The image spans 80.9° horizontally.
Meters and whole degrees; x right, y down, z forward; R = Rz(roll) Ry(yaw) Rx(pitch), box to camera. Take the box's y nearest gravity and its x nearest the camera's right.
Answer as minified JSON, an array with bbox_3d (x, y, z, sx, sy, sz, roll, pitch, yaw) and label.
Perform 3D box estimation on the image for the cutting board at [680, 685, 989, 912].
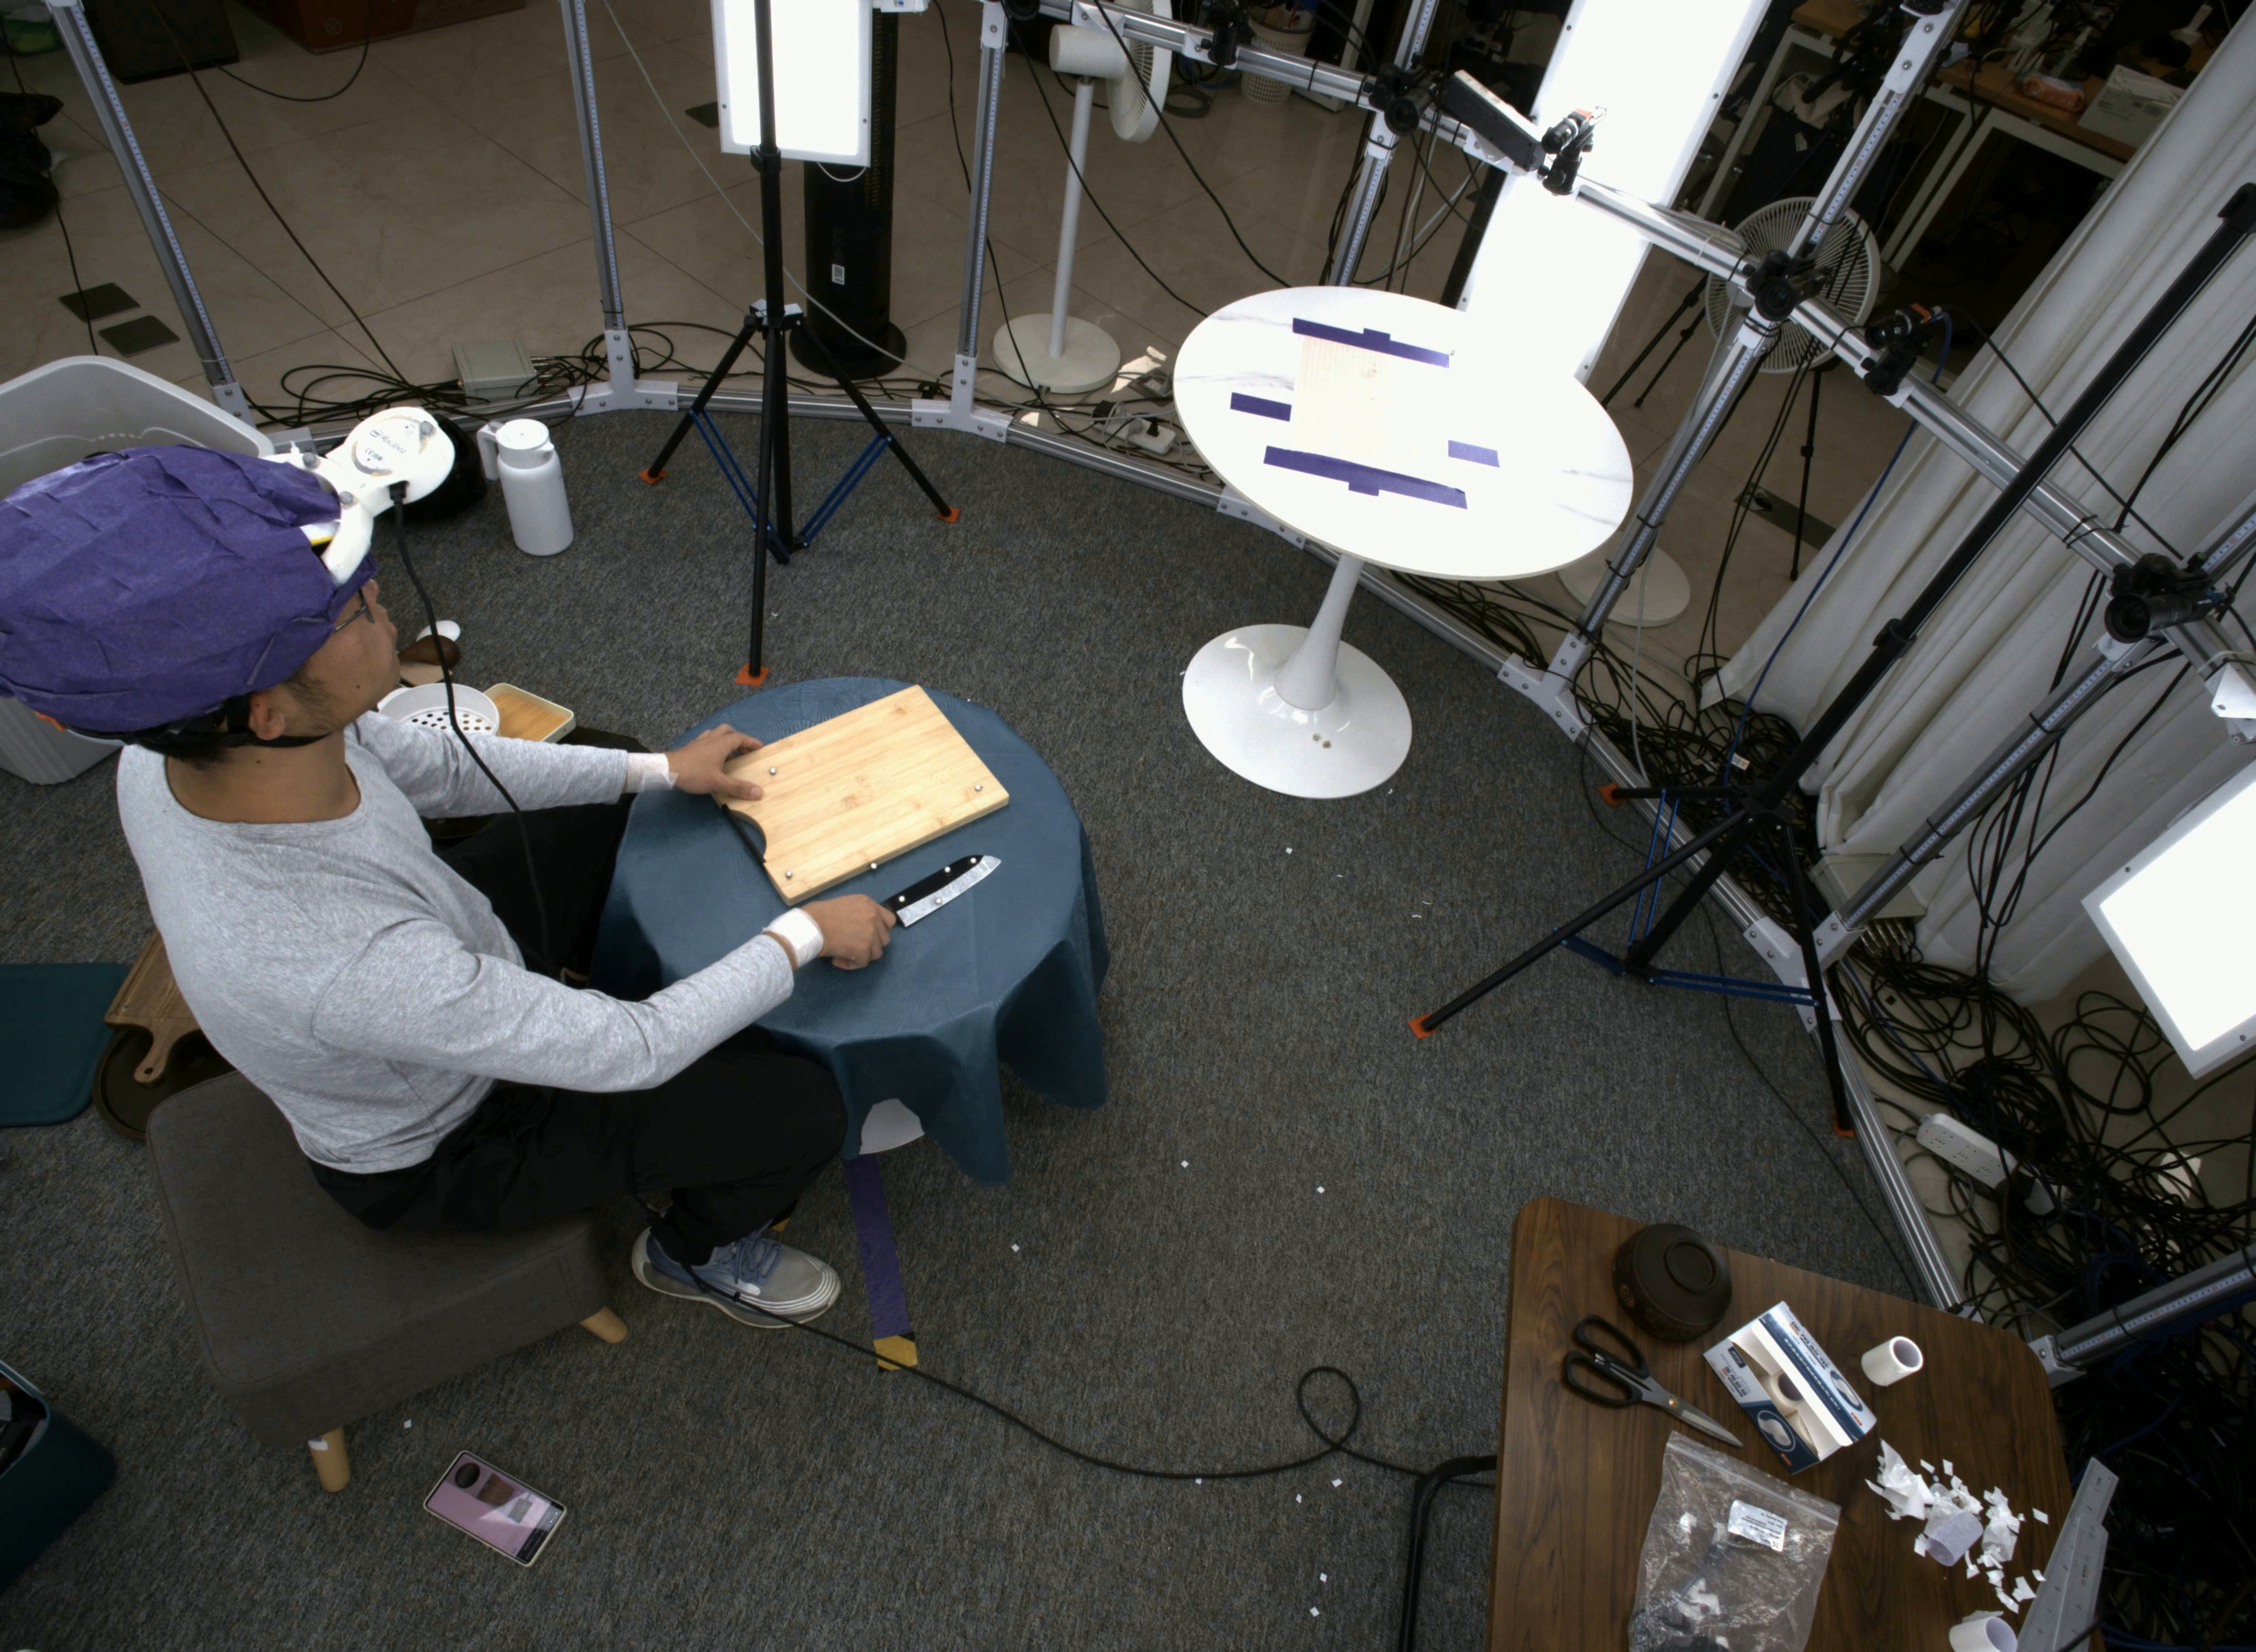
[{"bbox_3d":[-0.394,-0.047,1.768,0.350,0.024,0.244,-29,65,-30],"label":"cutting board"}]

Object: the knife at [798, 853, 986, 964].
[{"bbox_3d":[-0.299,0.101,1.682,0.290,0.020,0.050,-30,78,-33],"label":"knife"}]
